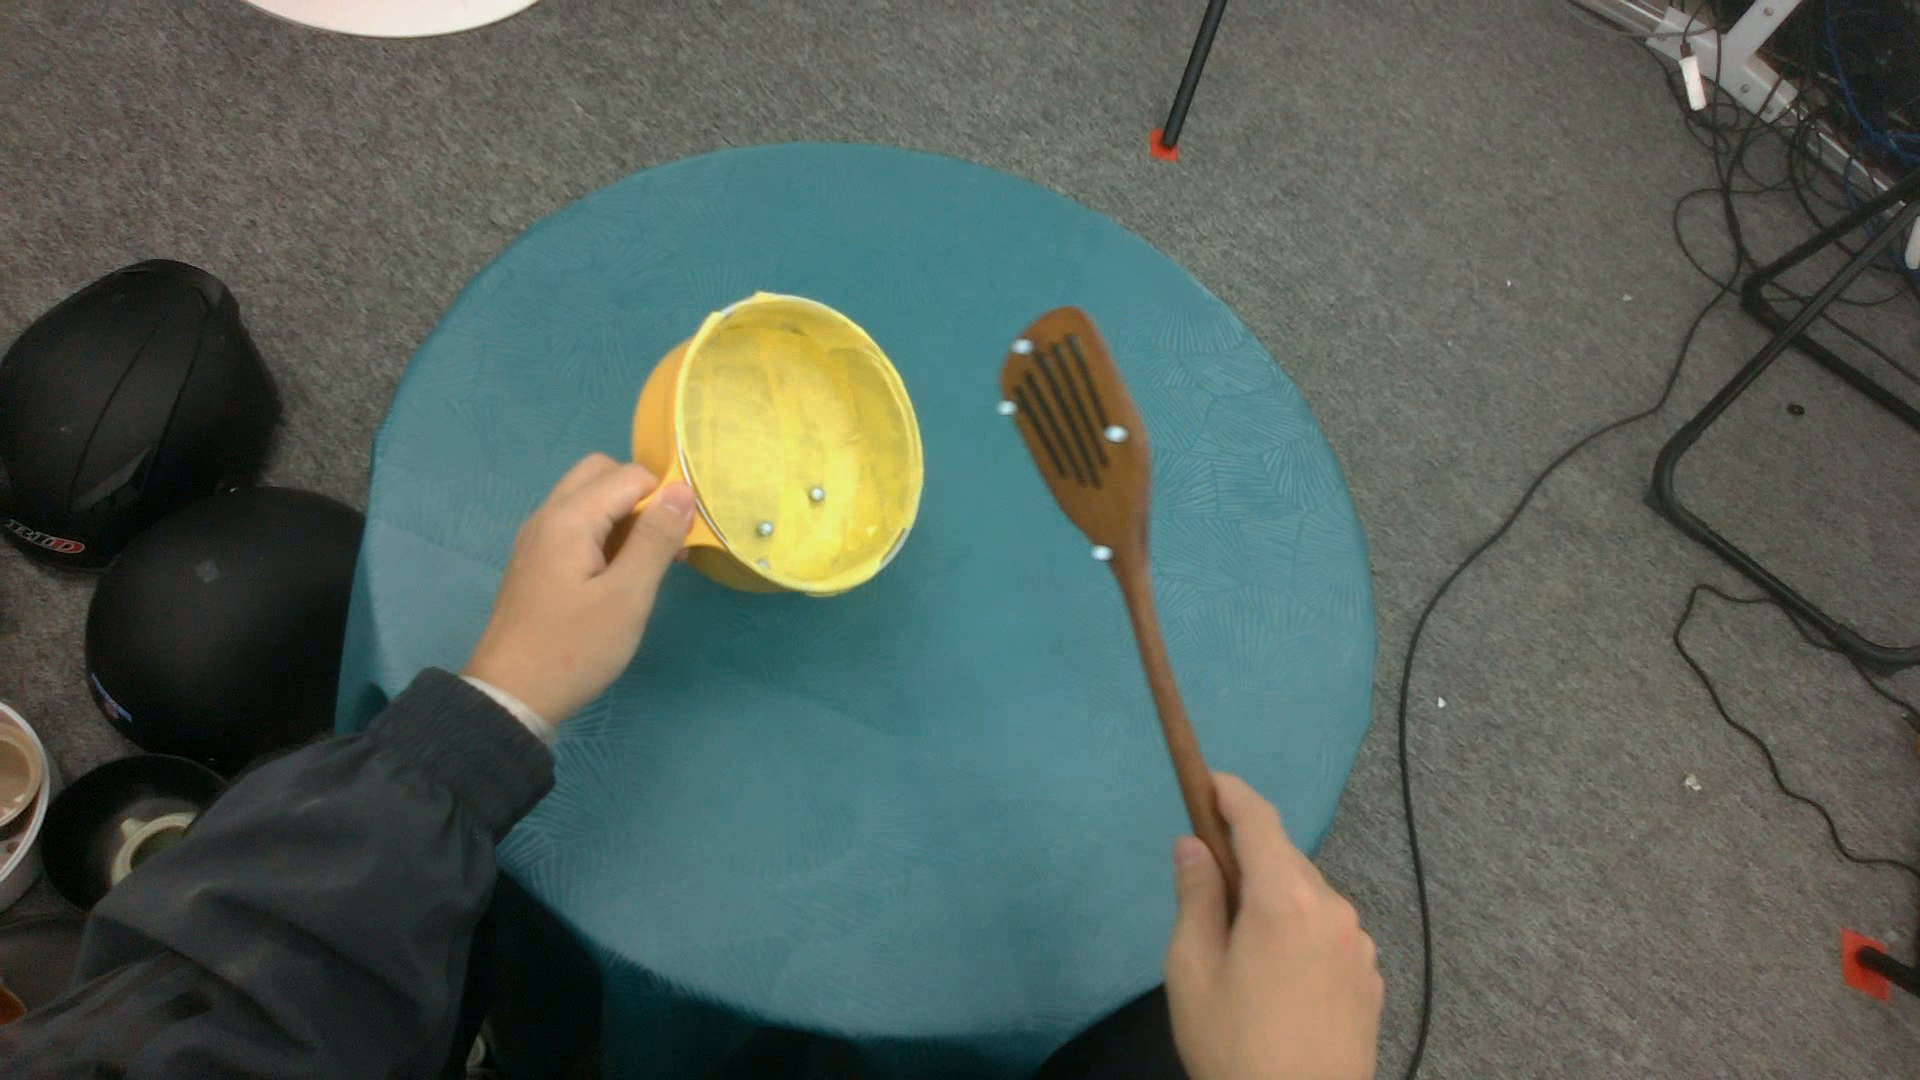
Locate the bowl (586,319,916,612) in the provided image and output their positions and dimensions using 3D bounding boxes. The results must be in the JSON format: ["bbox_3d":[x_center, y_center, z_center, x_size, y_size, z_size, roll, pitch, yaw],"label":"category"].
[{"bbox_3d":[-0.113,-0.028,0.724,0.153,0.074,0.180,55,49,-13],"label":"bowl"}]

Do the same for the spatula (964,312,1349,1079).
[{"bbox_3d":[0.093,0.067,0.652,0.024,0.085,0.387,-13,72,-31],"label":"spatula"}]
